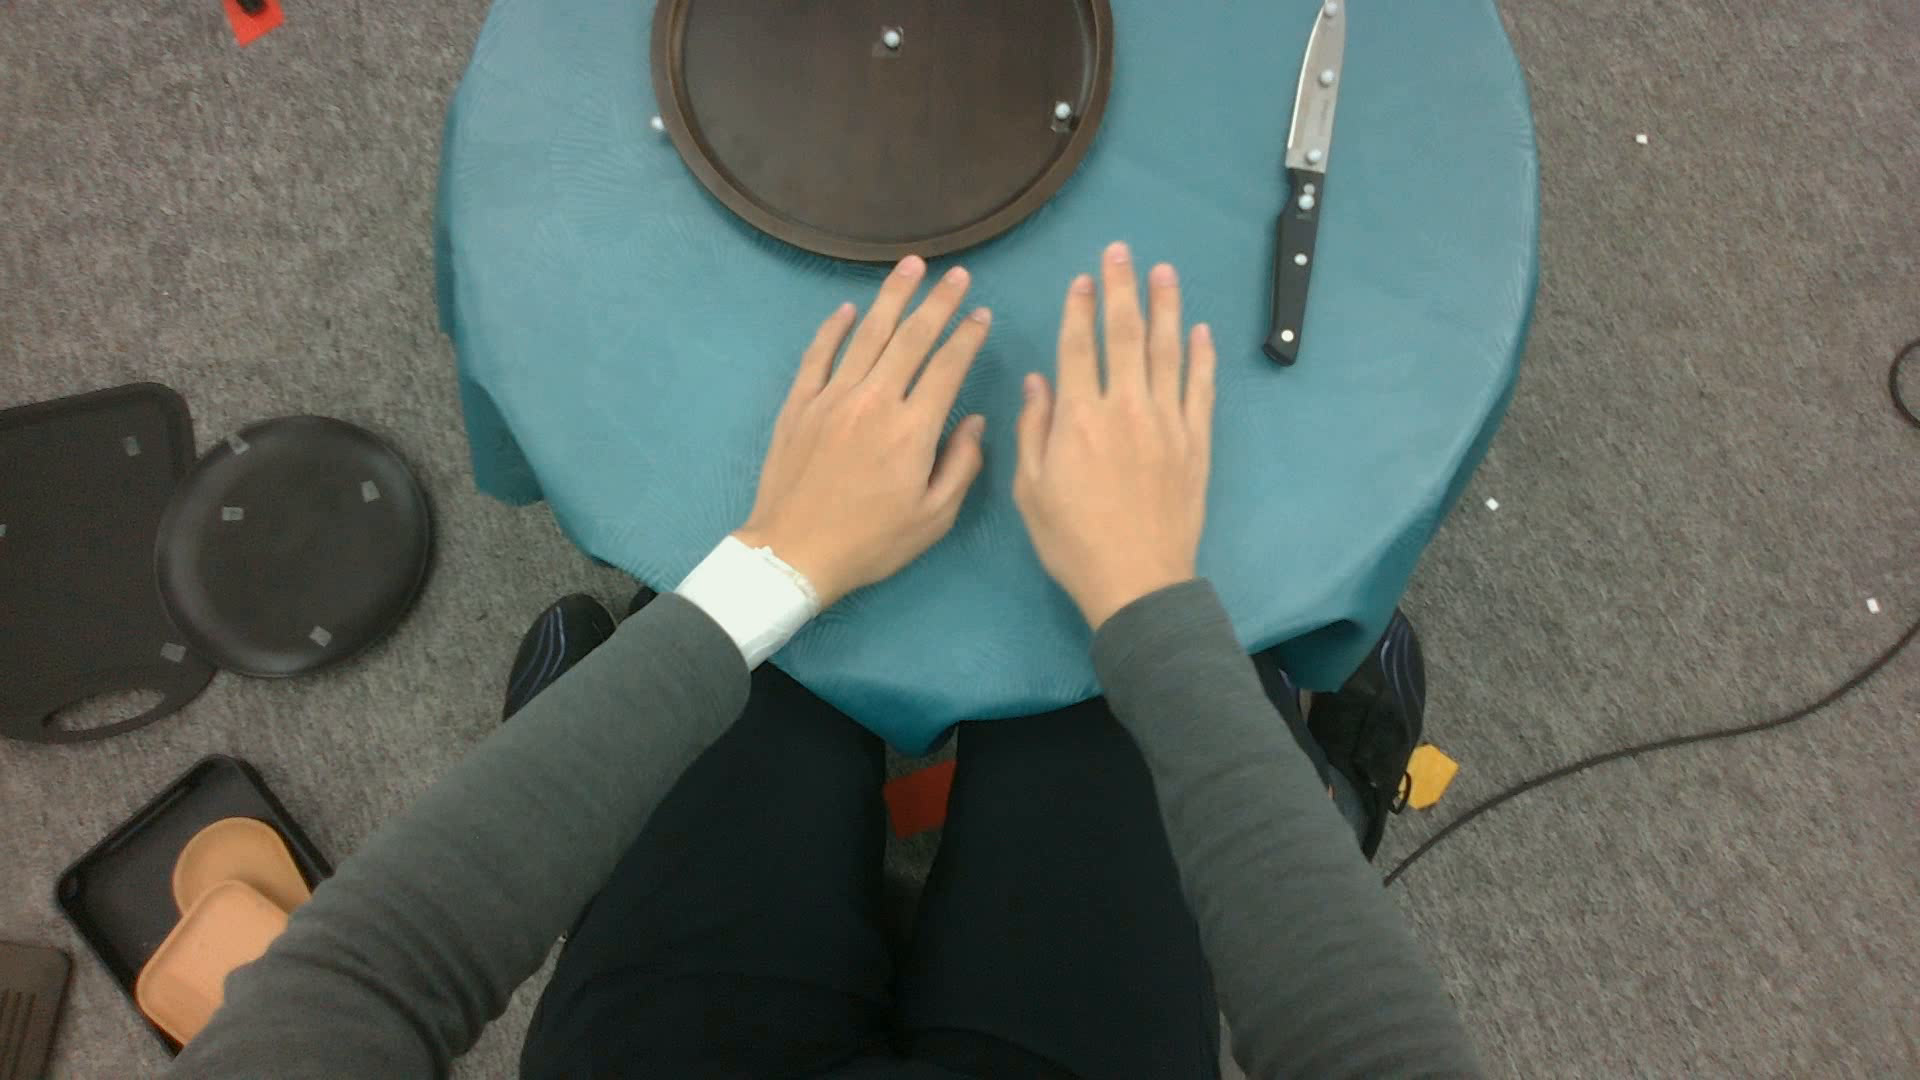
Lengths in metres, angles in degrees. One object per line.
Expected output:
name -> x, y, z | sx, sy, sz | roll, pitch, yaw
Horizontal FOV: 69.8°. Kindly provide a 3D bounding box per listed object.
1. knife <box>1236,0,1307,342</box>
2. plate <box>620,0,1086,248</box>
knife -> 0.176, -0.219, 0.758 | 0.024, 0.016, 0.239 | 10, 75, -1
plate -> -0.058, -0.277, 0.756 | 0.255, 0.029, 0.255 | 0, 77, -1
